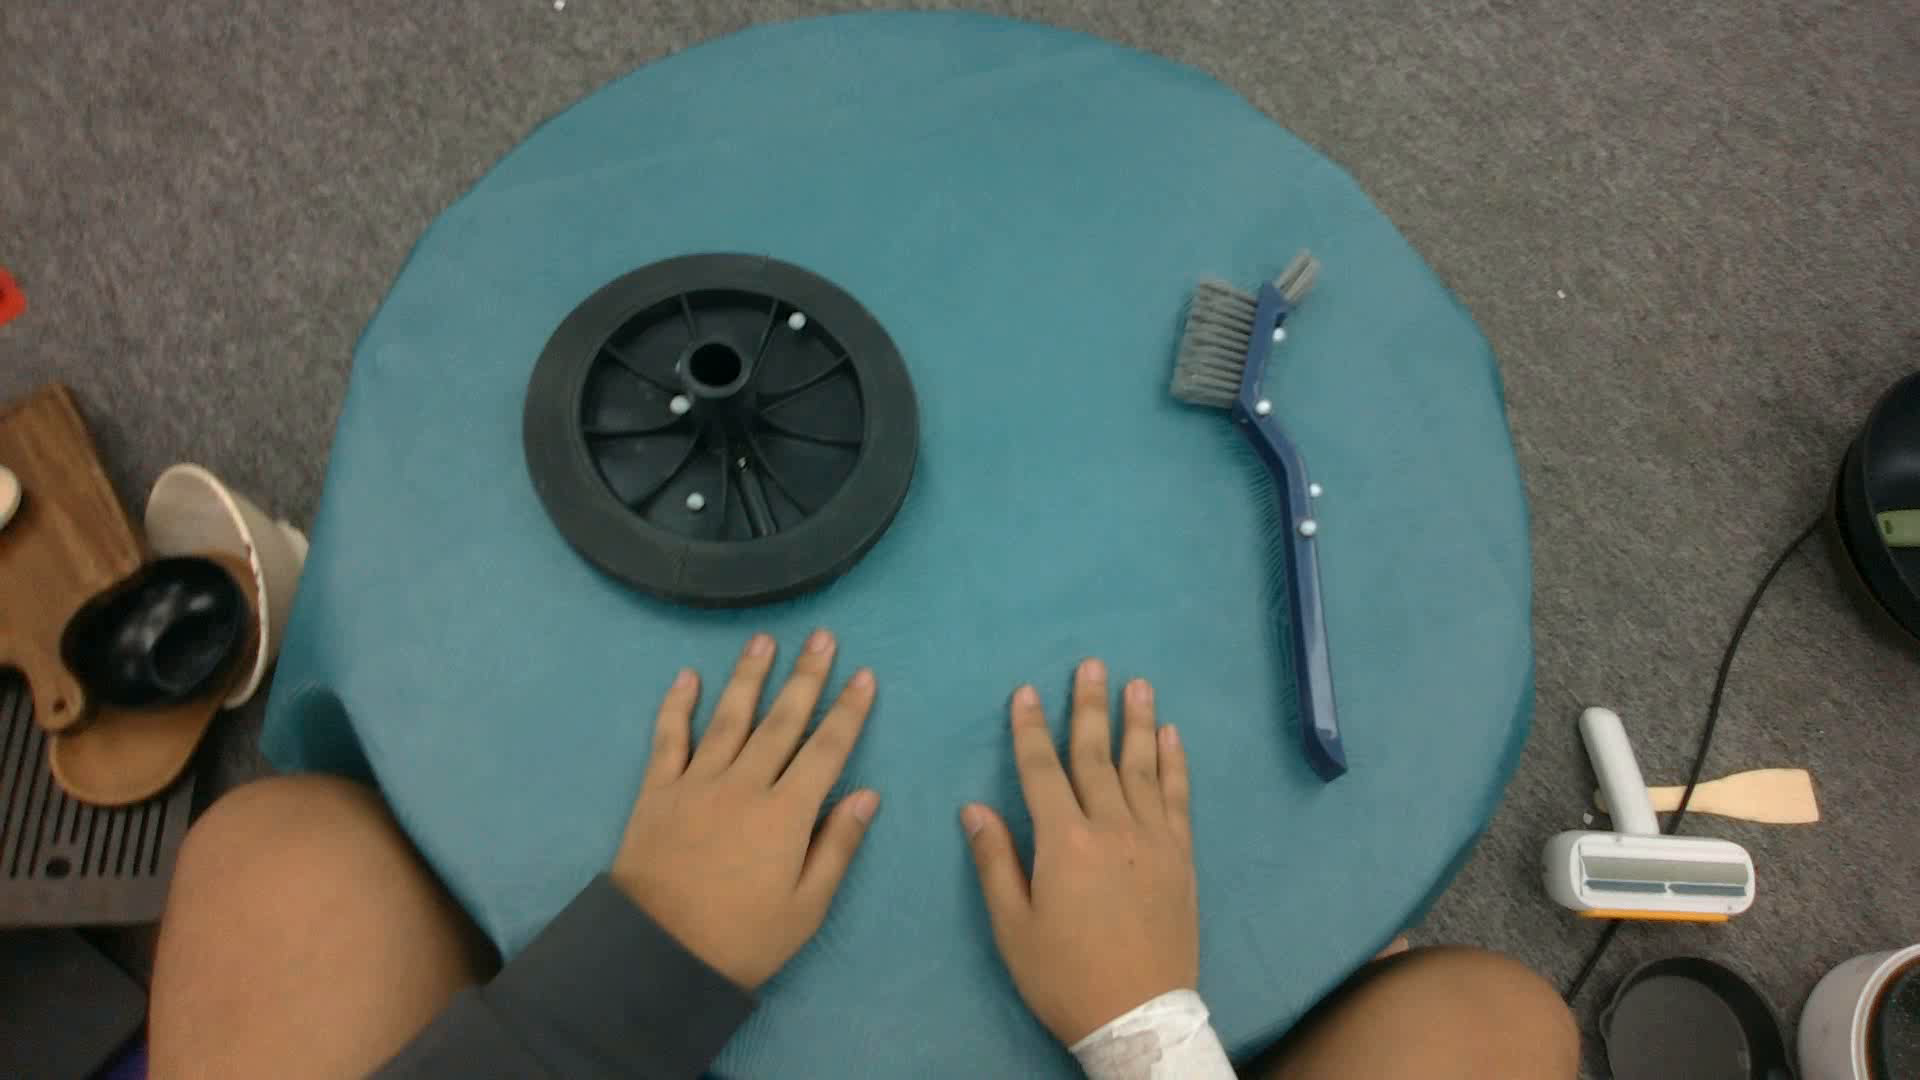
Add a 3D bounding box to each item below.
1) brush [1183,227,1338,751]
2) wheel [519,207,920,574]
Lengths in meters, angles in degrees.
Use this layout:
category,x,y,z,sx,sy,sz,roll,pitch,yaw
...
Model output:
category,x,y,z,sx,sy,sz,roll,pitch,yaw
brush,0.172,-0.034,0.685,0.096,0.033,0.274,-5,70,-9
wheel,-0.111,-0.082,0.644,0.188,0.079,0.190,-41,81,-18
